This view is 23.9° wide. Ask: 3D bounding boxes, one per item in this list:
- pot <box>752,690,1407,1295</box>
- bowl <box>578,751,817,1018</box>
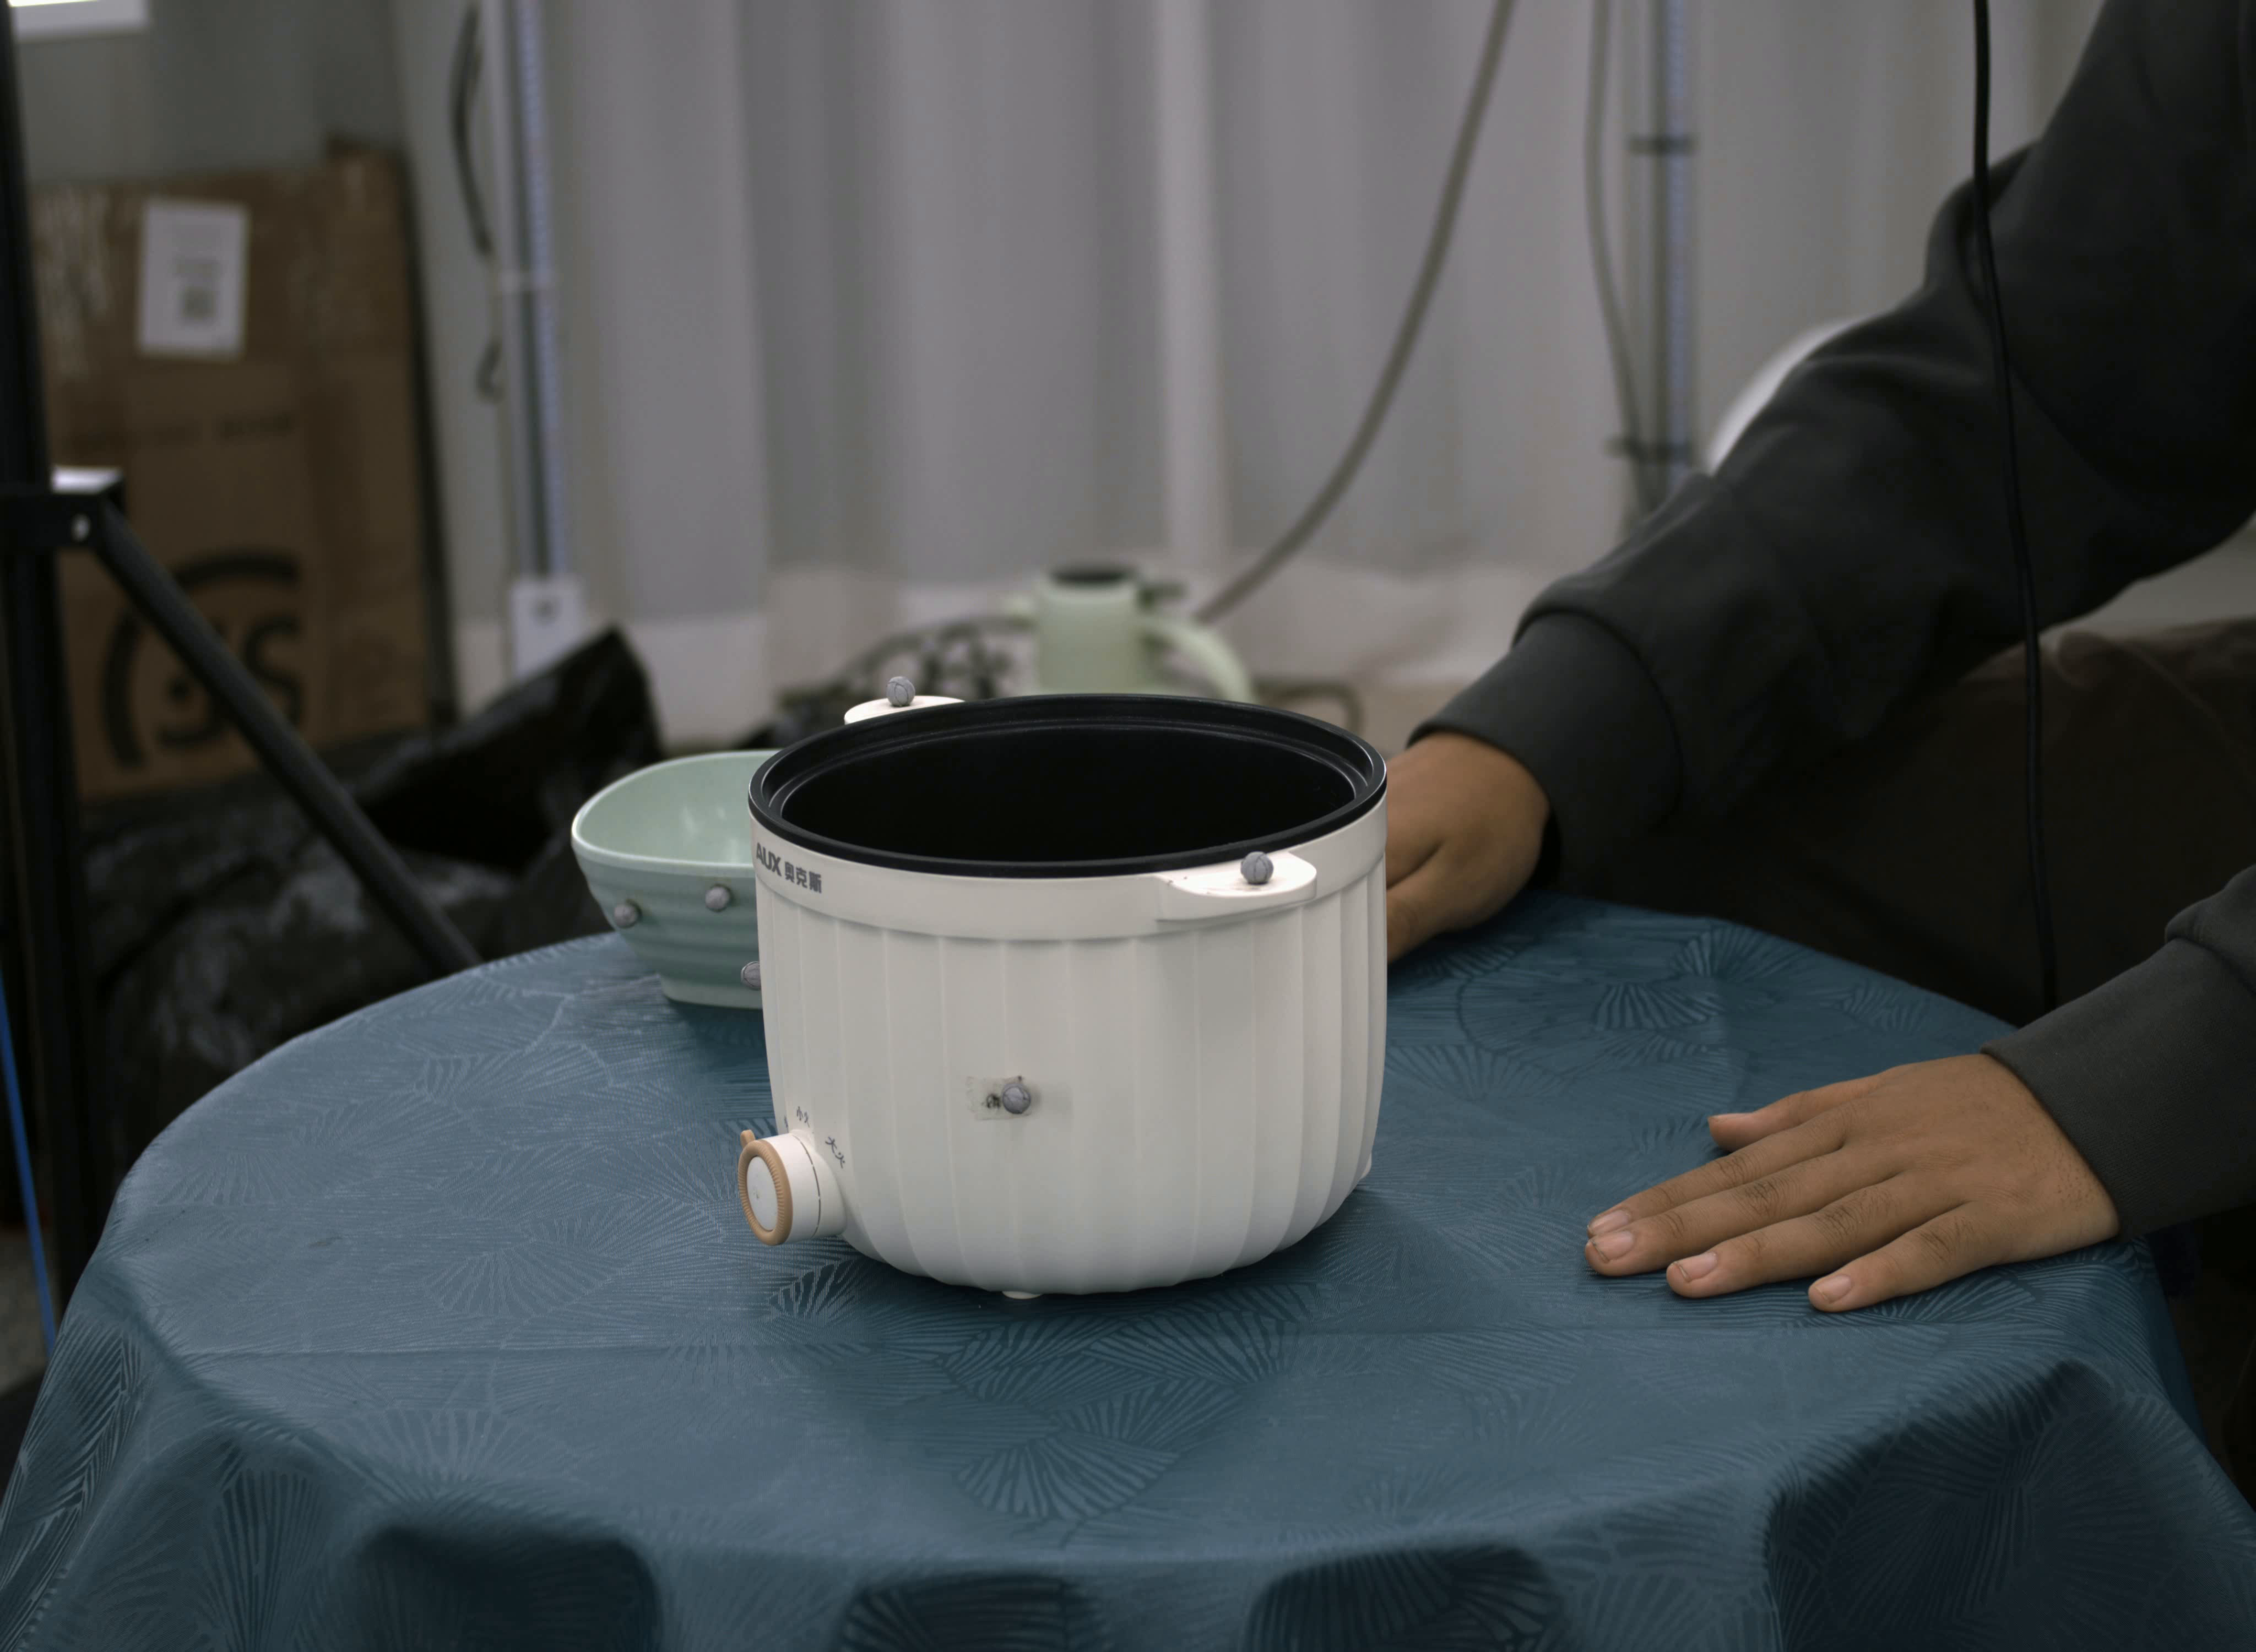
[{"bbox_3d":[-0.016,0.049,1.510,0.186,0.143,0.245,-7,14,-28],"label":"pot"},{"bbox_3d":[-0.110,0.022,1.773,0.151,0.058,0.152,-3,17,-1],"label":"bowl"}]
